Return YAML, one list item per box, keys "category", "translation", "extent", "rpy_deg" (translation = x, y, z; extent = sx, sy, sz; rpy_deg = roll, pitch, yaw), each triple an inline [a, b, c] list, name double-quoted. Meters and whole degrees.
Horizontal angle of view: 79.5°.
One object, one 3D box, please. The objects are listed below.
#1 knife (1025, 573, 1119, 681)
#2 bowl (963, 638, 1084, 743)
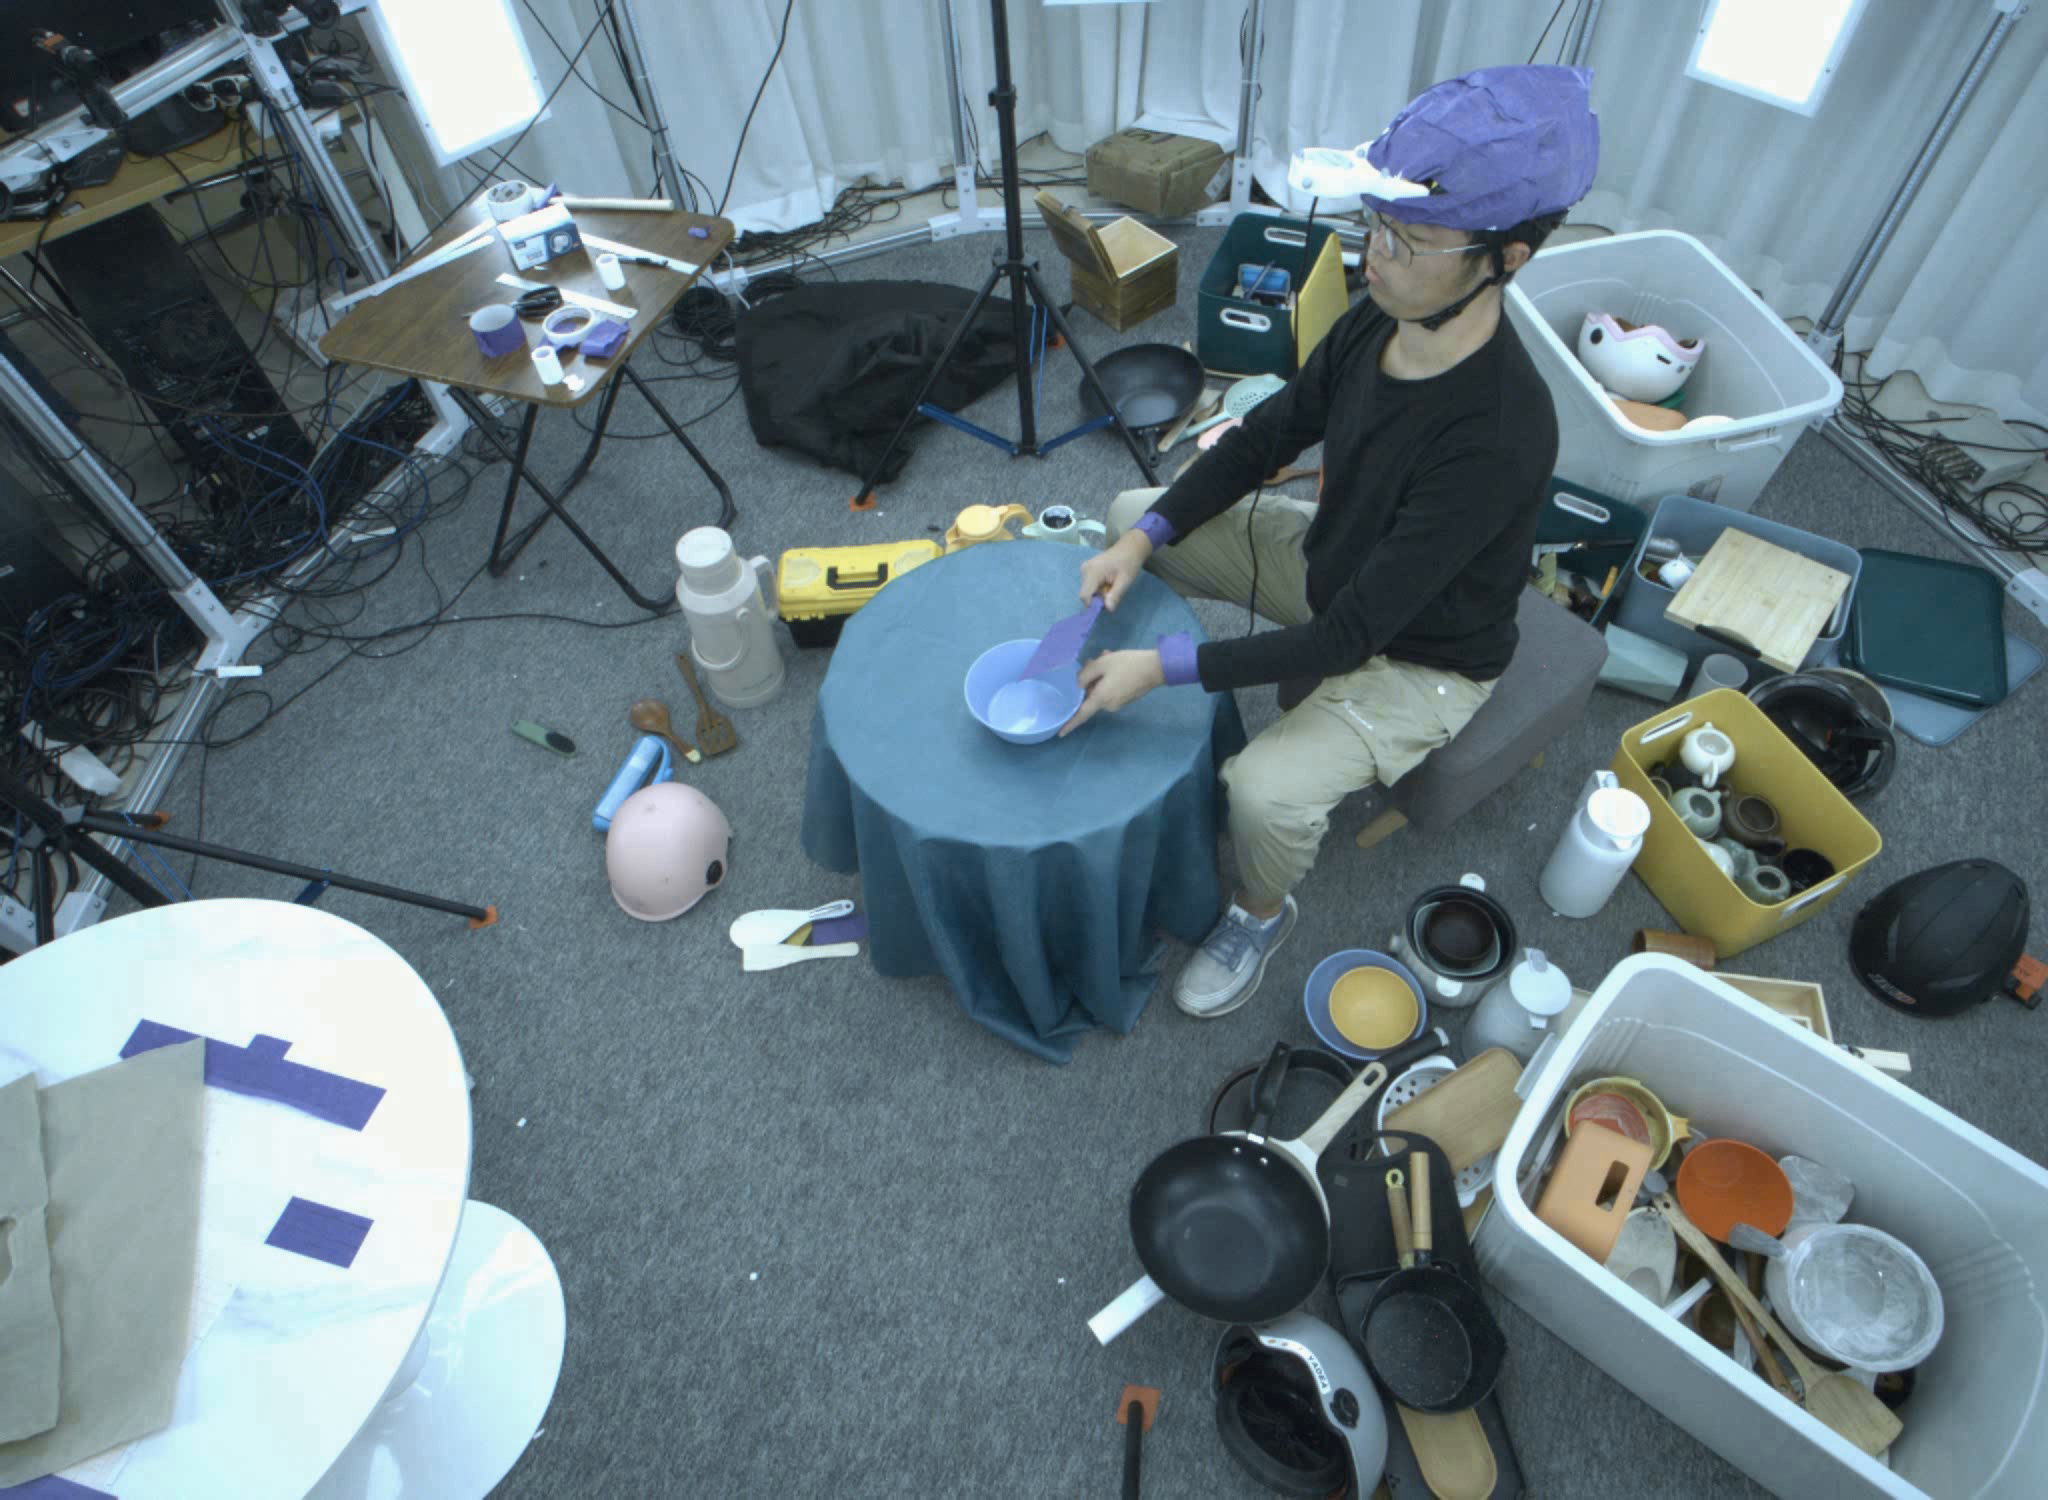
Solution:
- category: "knife"
  translation: [0.069, -0.184, 1.801]
  extent: [0.102, 0.032, 0.315]
  rpy_deg: [-17, 21, 24]
- category: "bowl"
  translation: [0.000, -0.076, 1.794]
  extent: [0.176, 0.071, 0.174]
  rpy_deg: [0, 55, 1]
